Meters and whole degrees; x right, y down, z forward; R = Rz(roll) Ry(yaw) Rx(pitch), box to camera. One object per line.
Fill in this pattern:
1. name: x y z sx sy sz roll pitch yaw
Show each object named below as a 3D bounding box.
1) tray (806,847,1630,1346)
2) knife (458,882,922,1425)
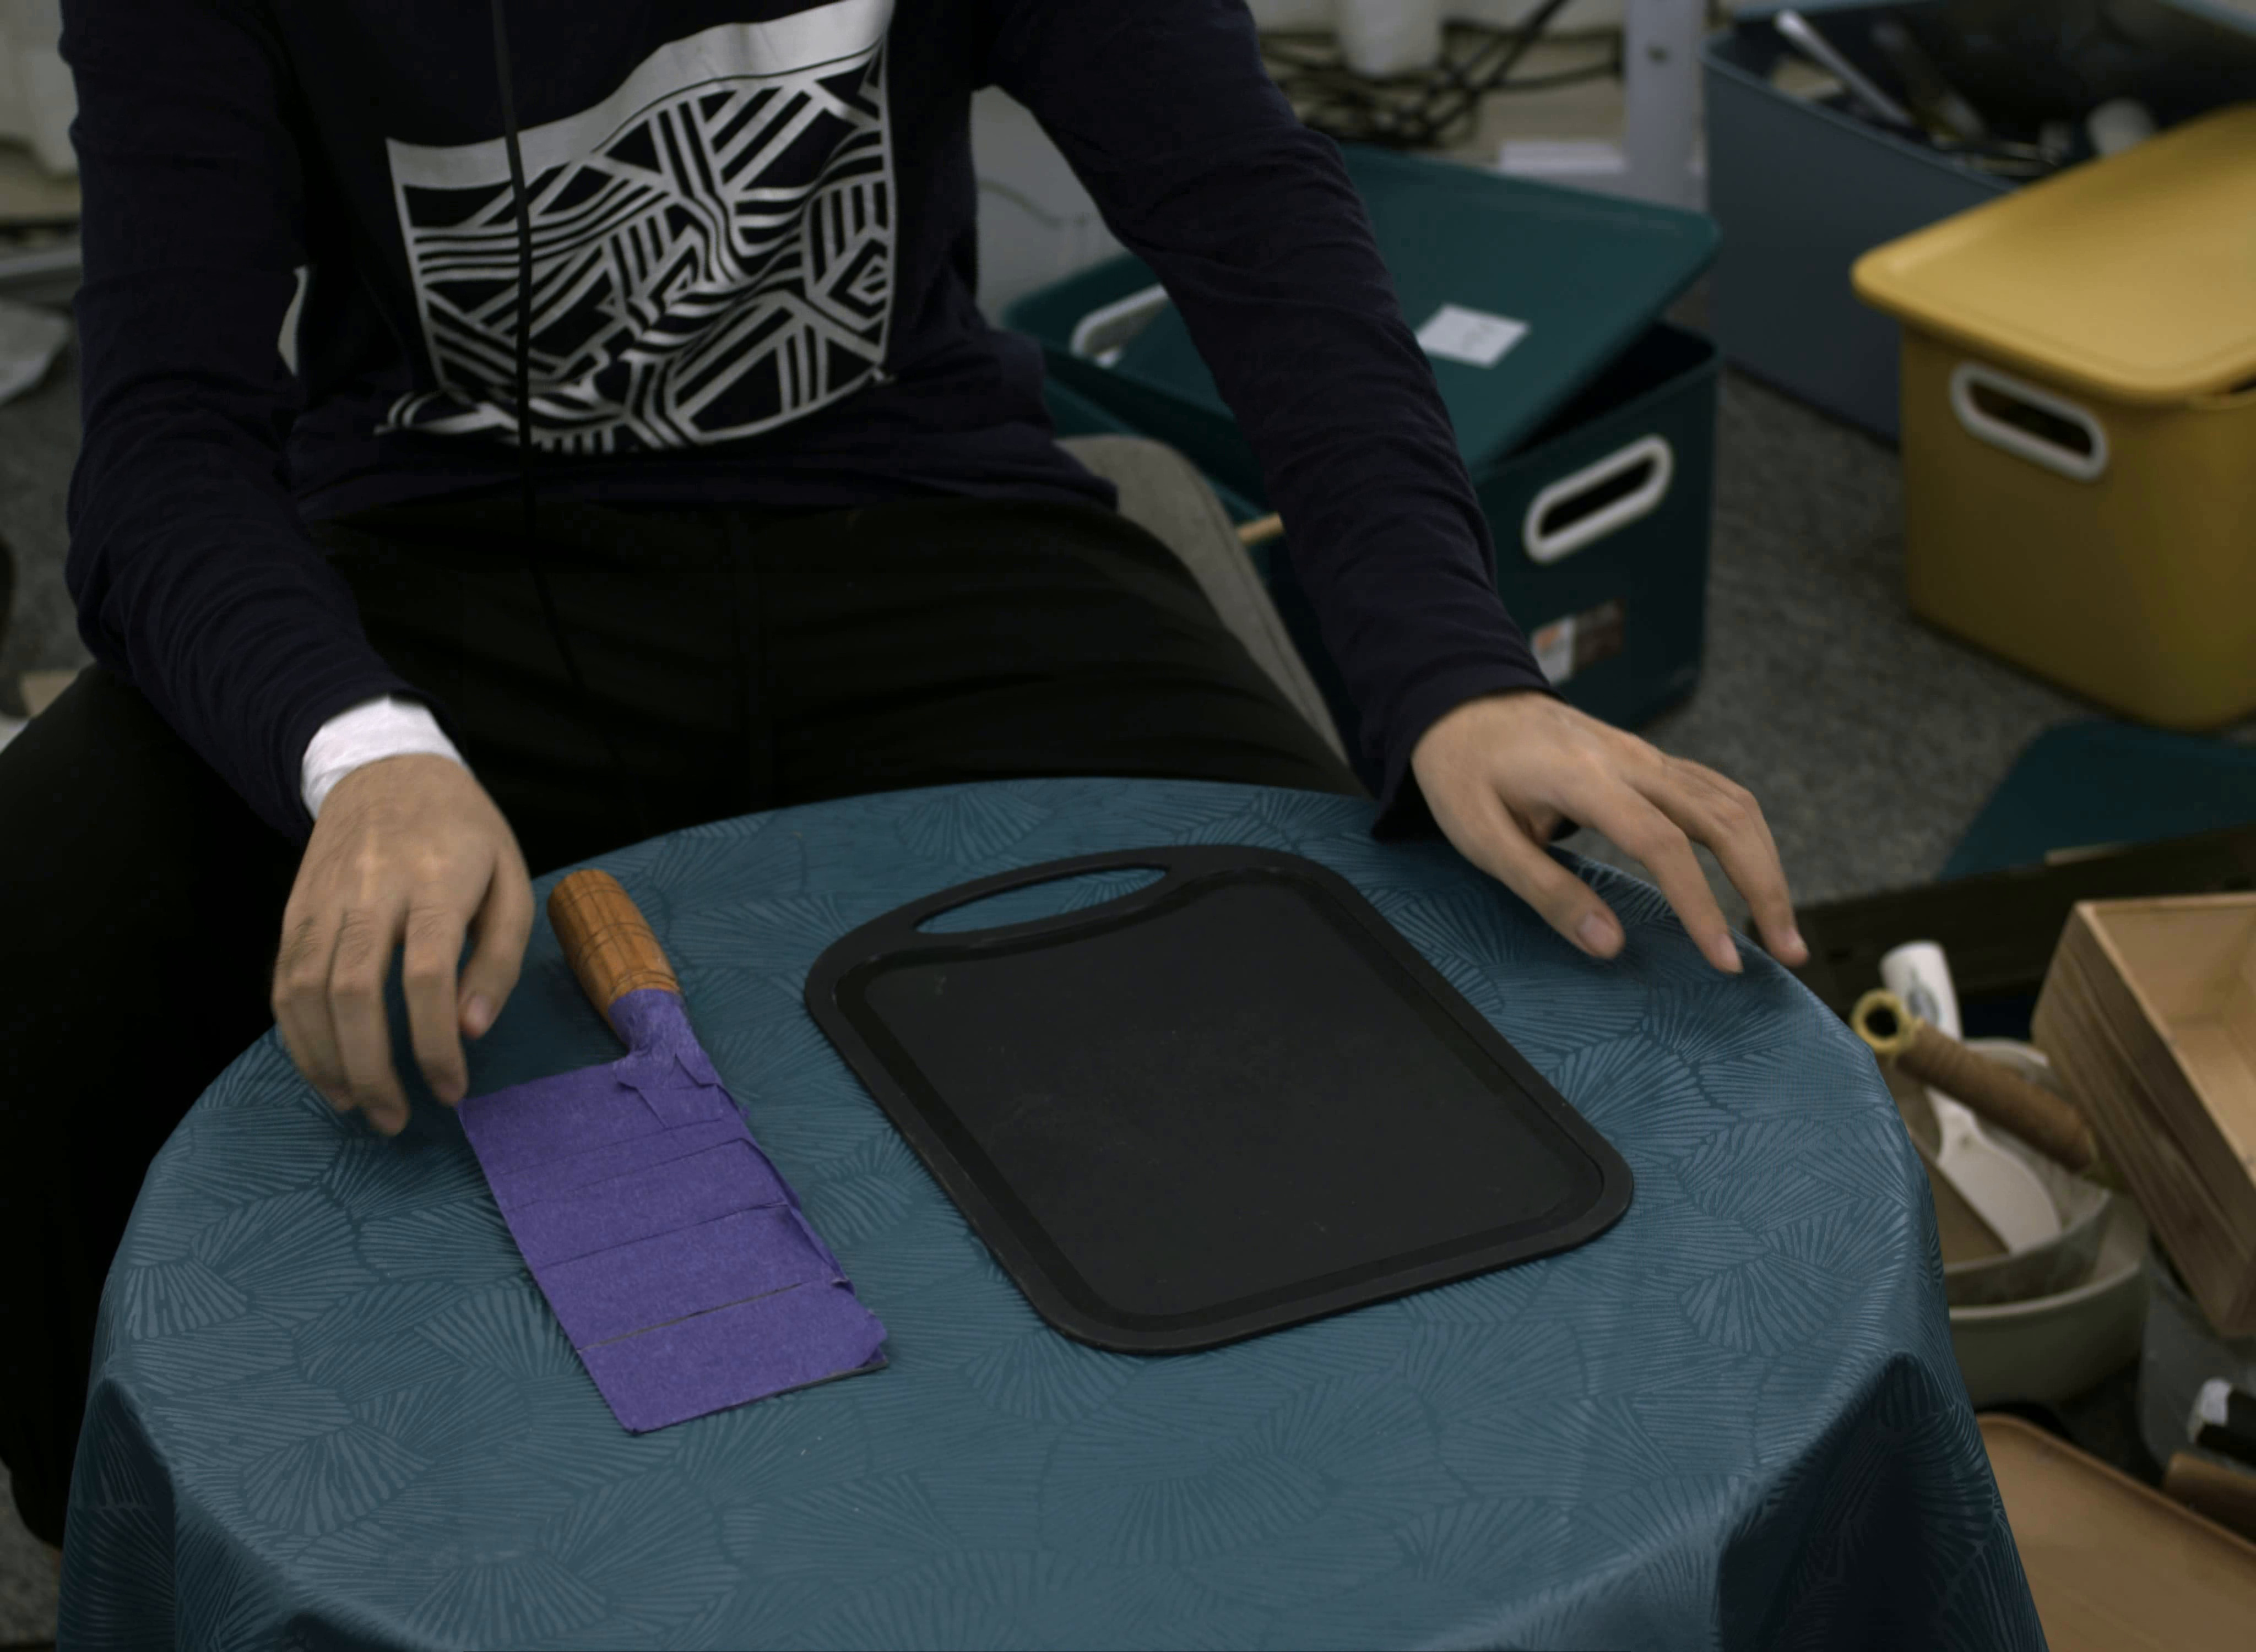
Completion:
1. tray: 0.021 0.083 1.927 0.212 0.009 0.328 -13 29 -19
2. knife: -0.170 0.105 1.881 0.104 0.032 0.318 -12 29 -18
